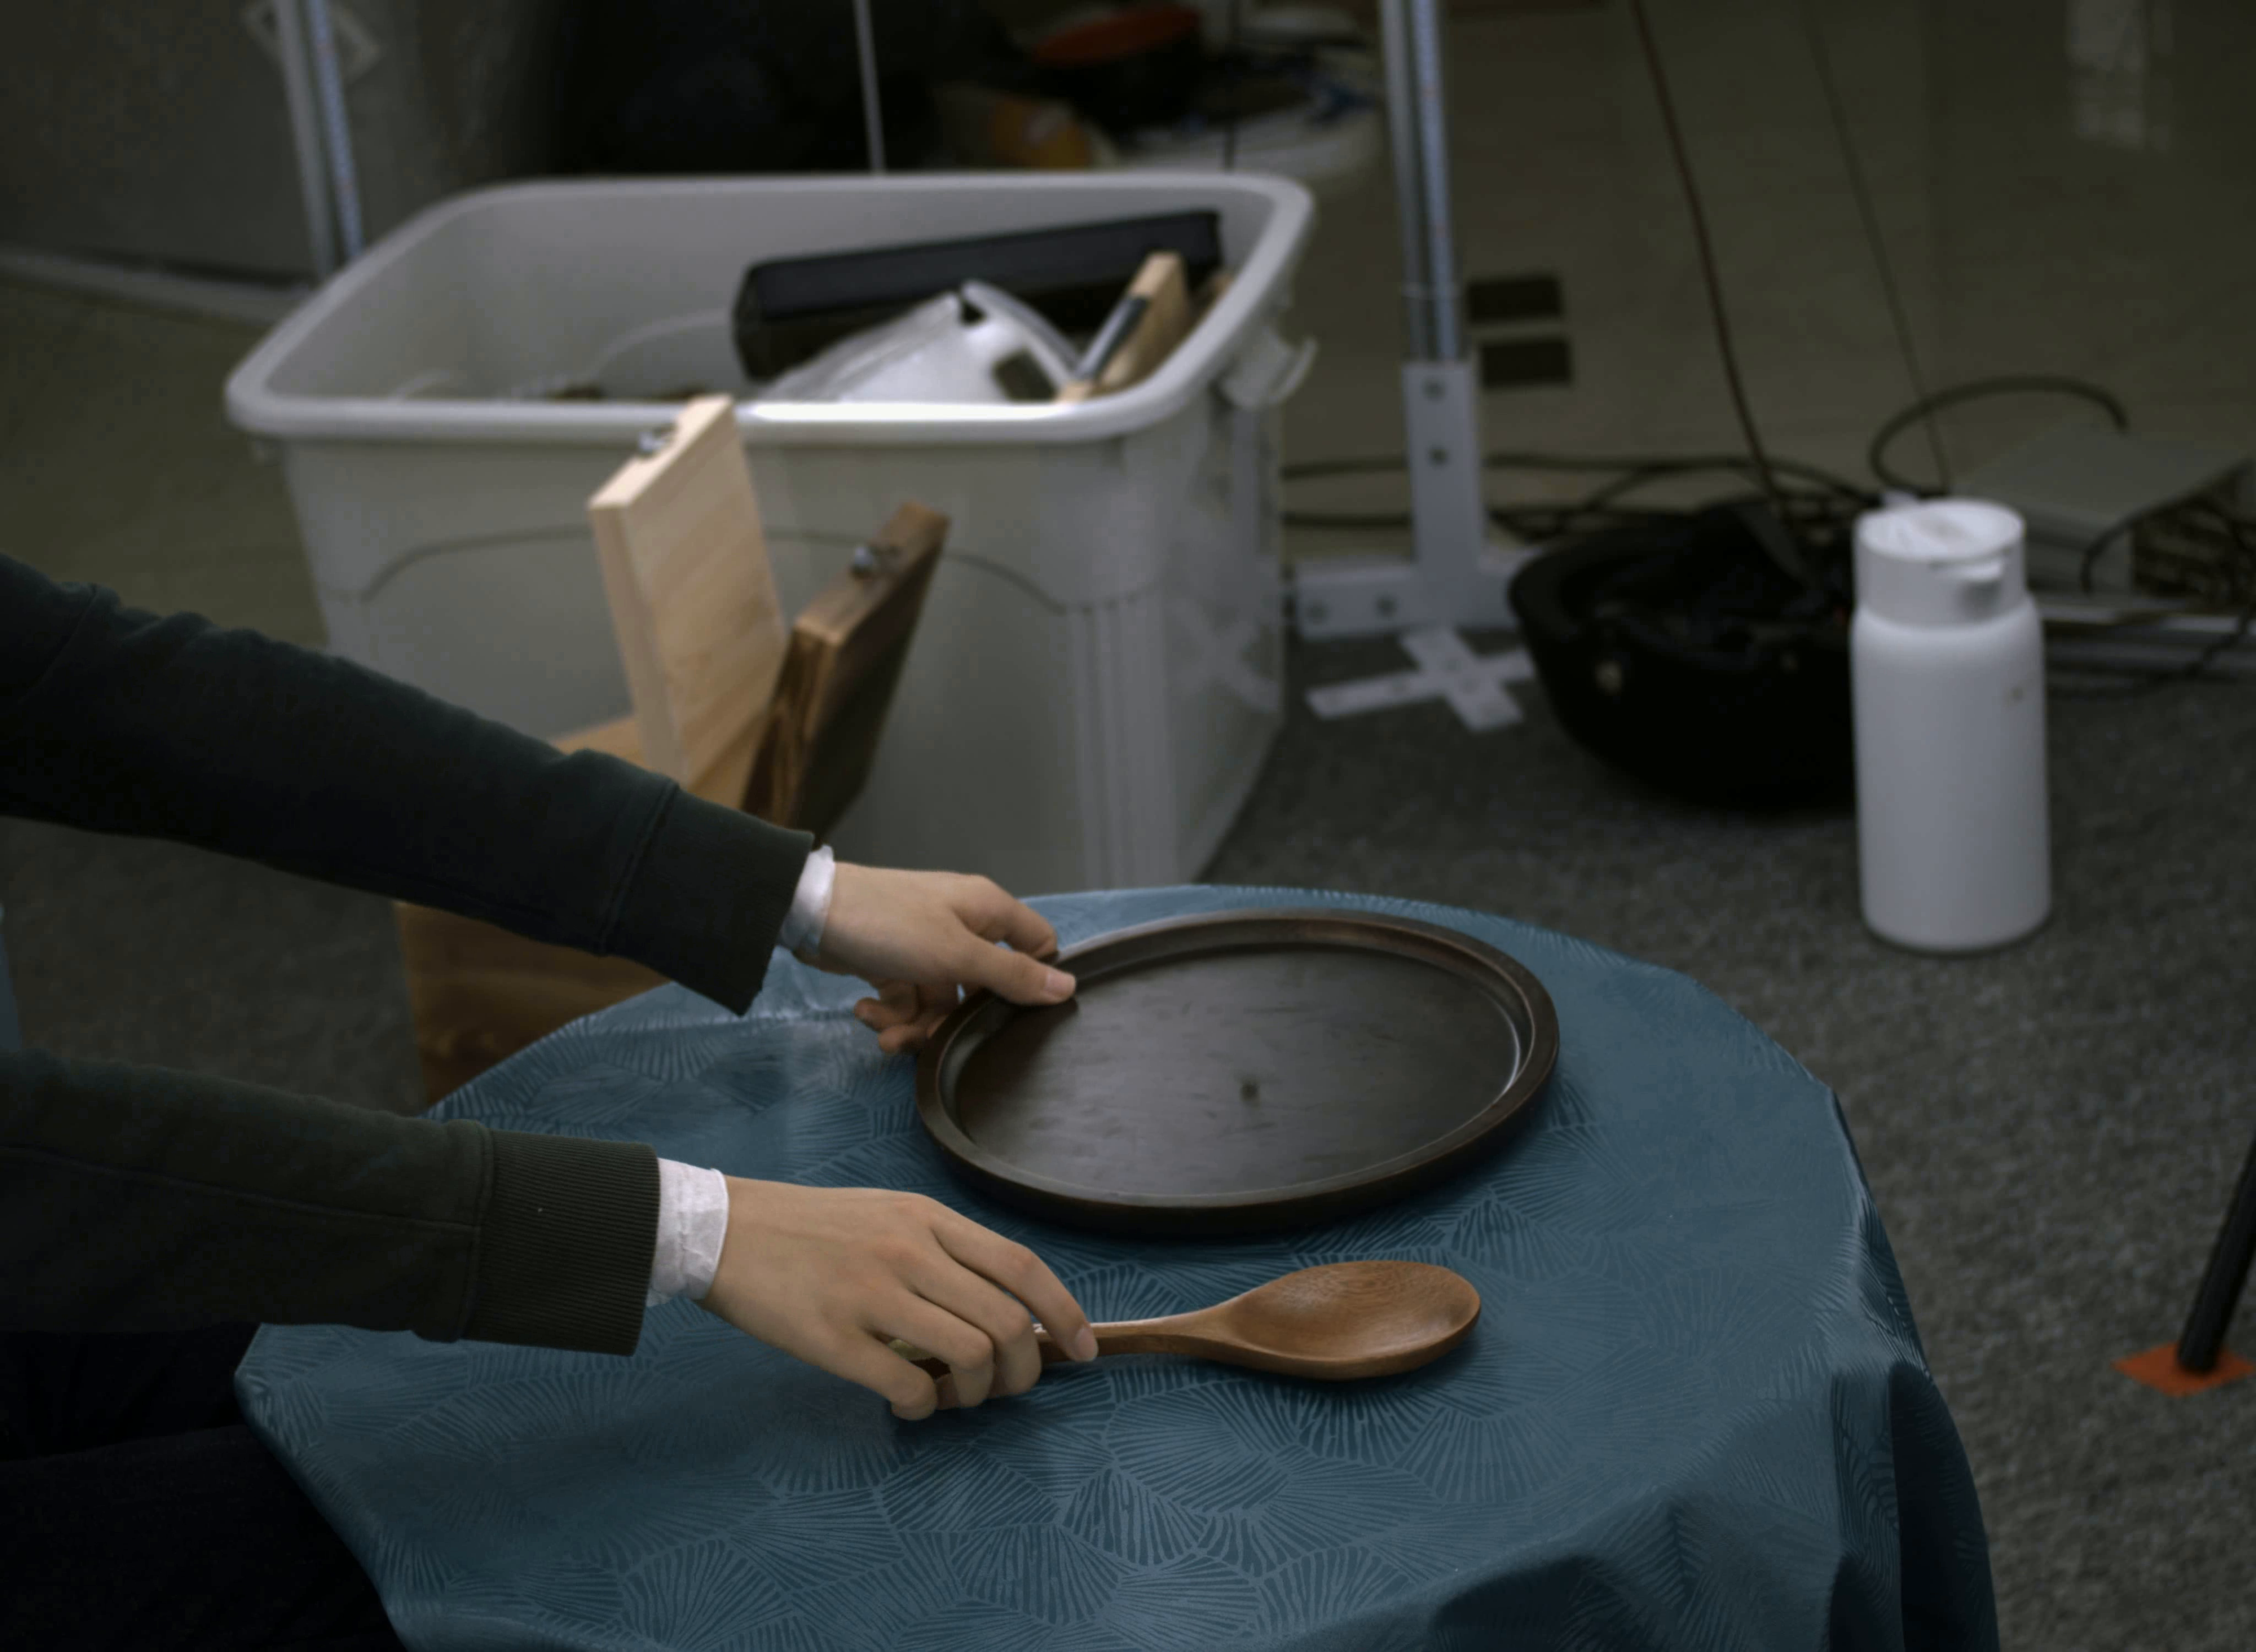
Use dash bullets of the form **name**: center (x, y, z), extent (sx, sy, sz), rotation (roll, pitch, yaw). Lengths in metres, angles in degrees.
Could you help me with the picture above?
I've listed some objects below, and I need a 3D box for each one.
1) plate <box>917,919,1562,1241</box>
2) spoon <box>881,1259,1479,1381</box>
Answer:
- **plate**: center (0.043, 0.097, 2.207), extent (0.254, 0.029, 0.251), rotation (-5, 24, 2)
- **spoon**: center (0.018, 0.183, 2.033), extent (0.215, 0.017, 0.074), rotation (-4, 25, 5)
